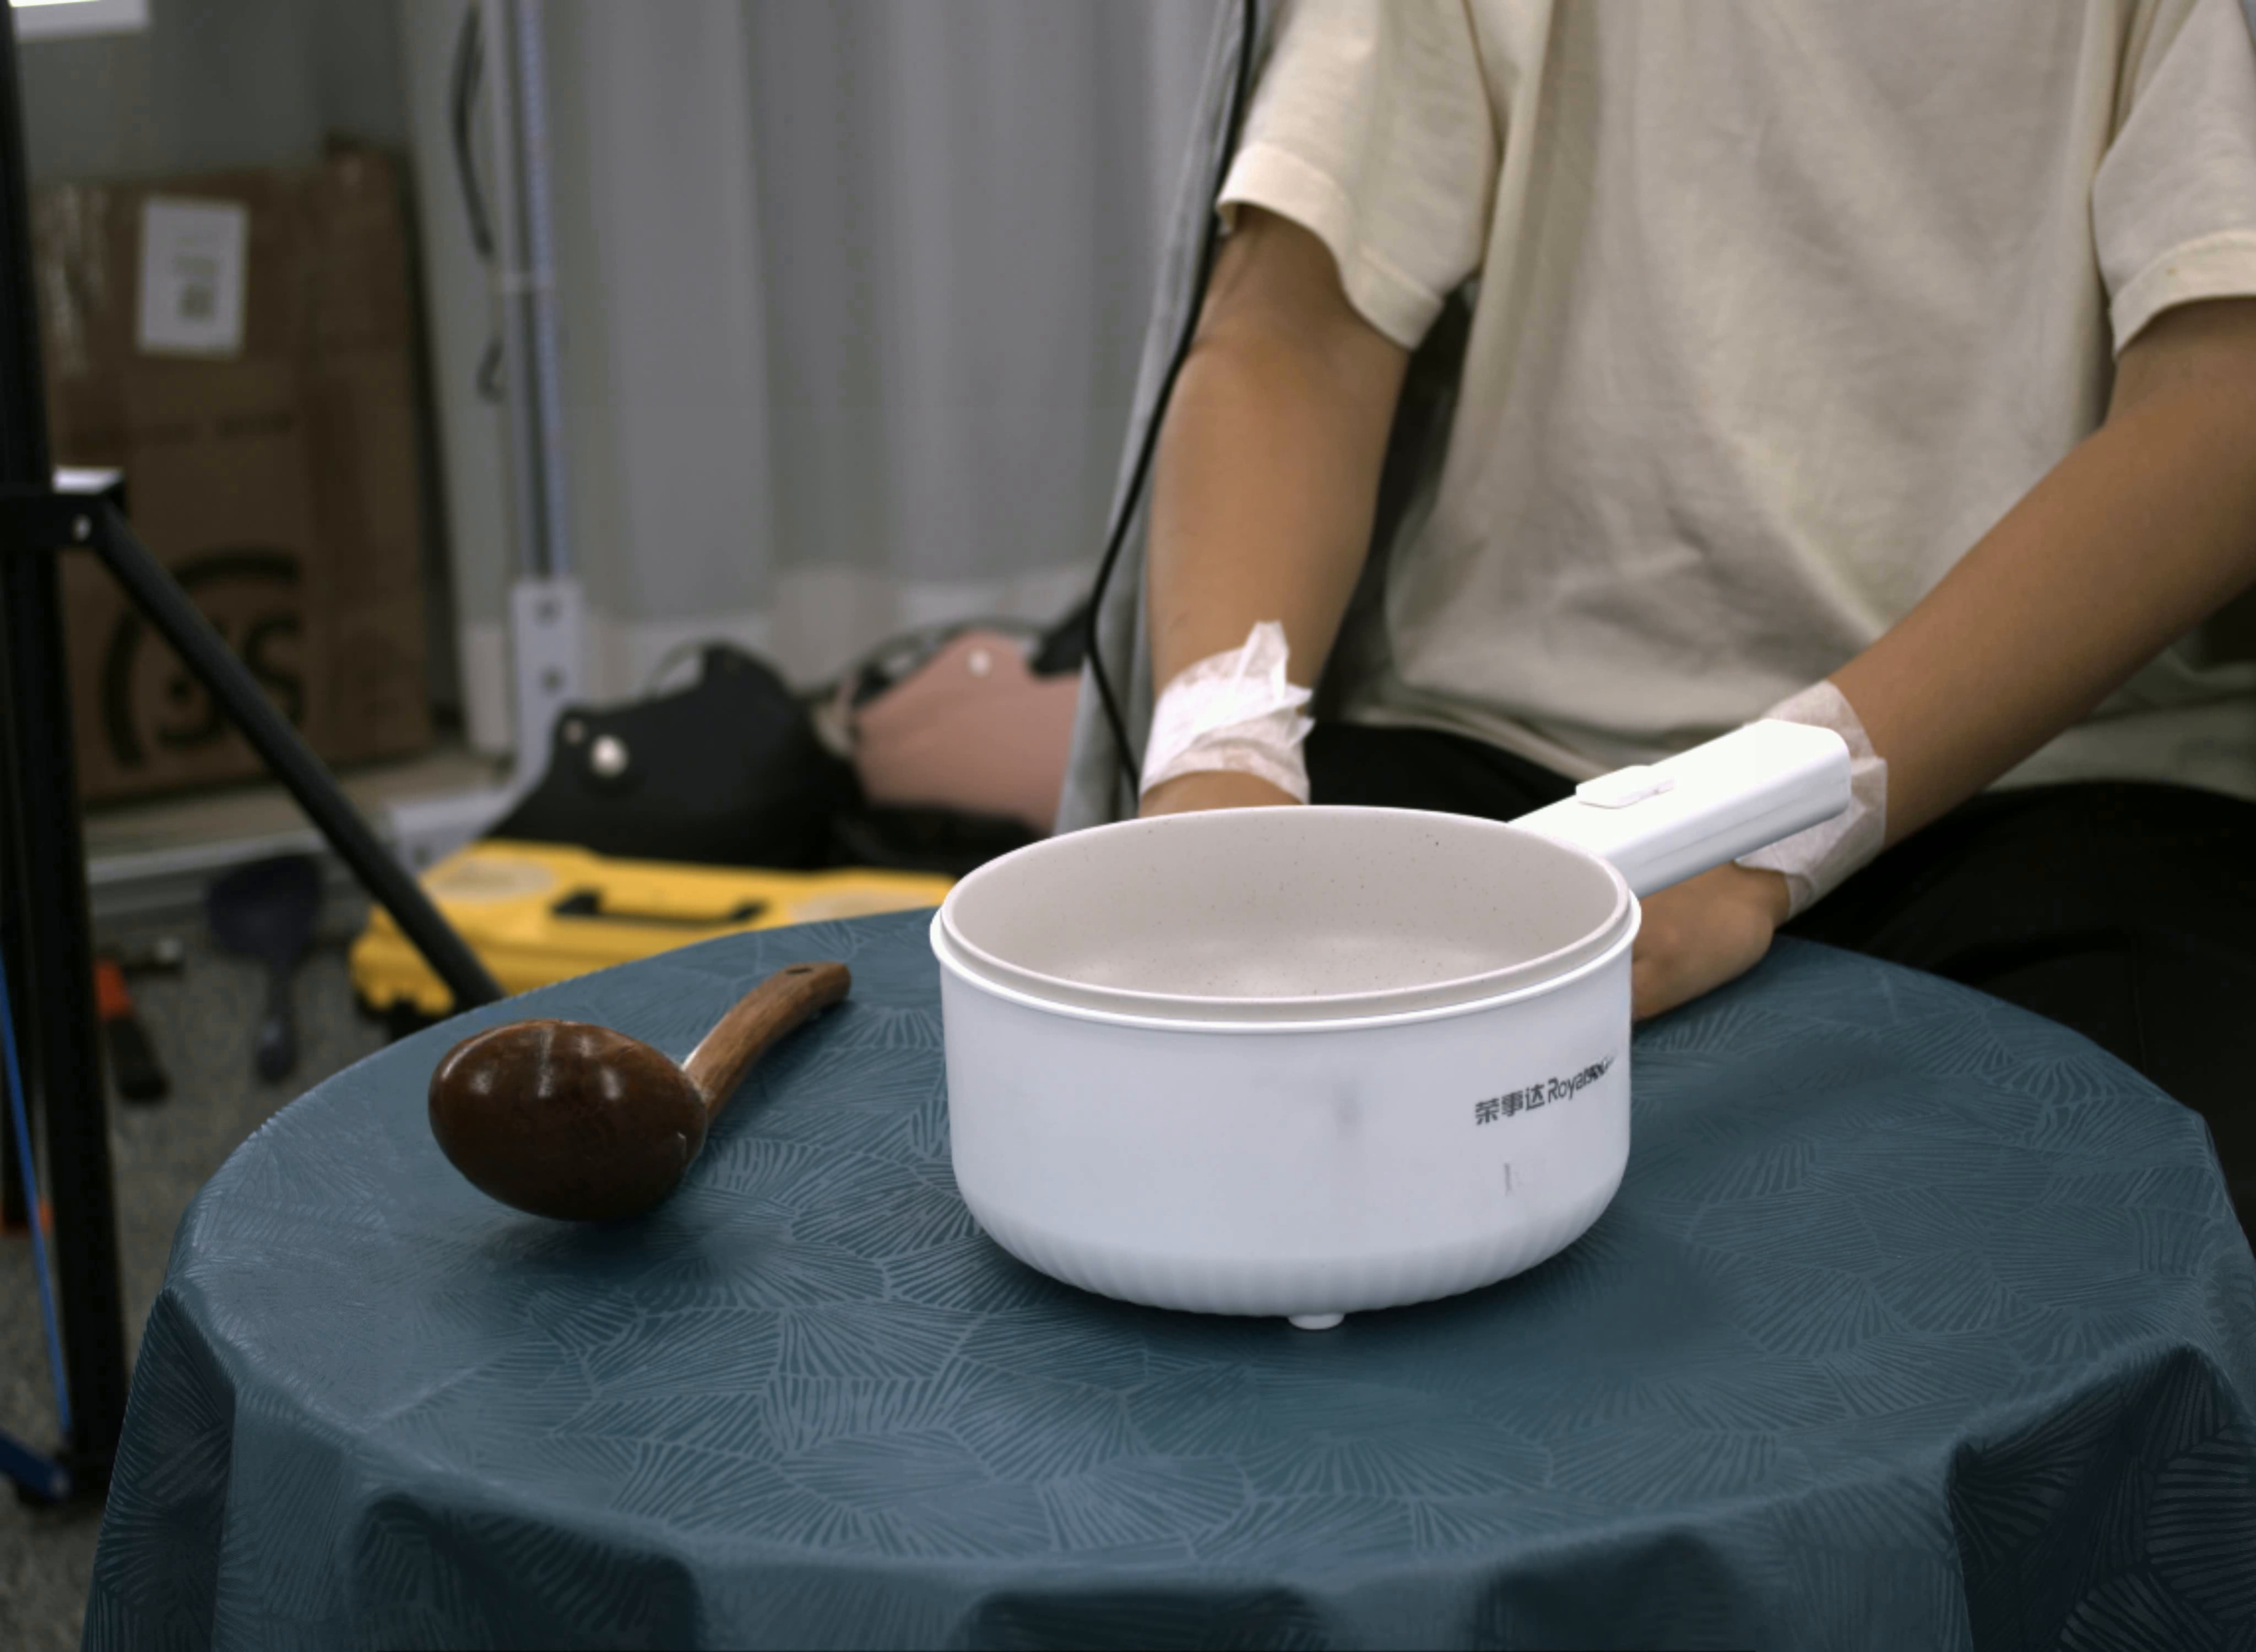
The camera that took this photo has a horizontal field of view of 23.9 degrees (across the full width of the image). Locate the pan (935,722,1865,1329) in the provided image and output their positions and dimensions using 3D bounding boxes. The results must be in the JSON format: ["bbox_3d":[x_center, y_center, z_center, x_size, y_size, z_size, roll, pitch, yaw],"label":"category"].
[{"bbox_3d":[0.098,0.052,1.557,0.206,0.102,0.347,11,20,42],"label":"pan"}]

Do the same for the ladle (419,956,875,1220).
[{"bbox_3d":[-0.135,0.055,1.622,0.082,0.076,0.272,0,17,16],"label":"ladle"}]
